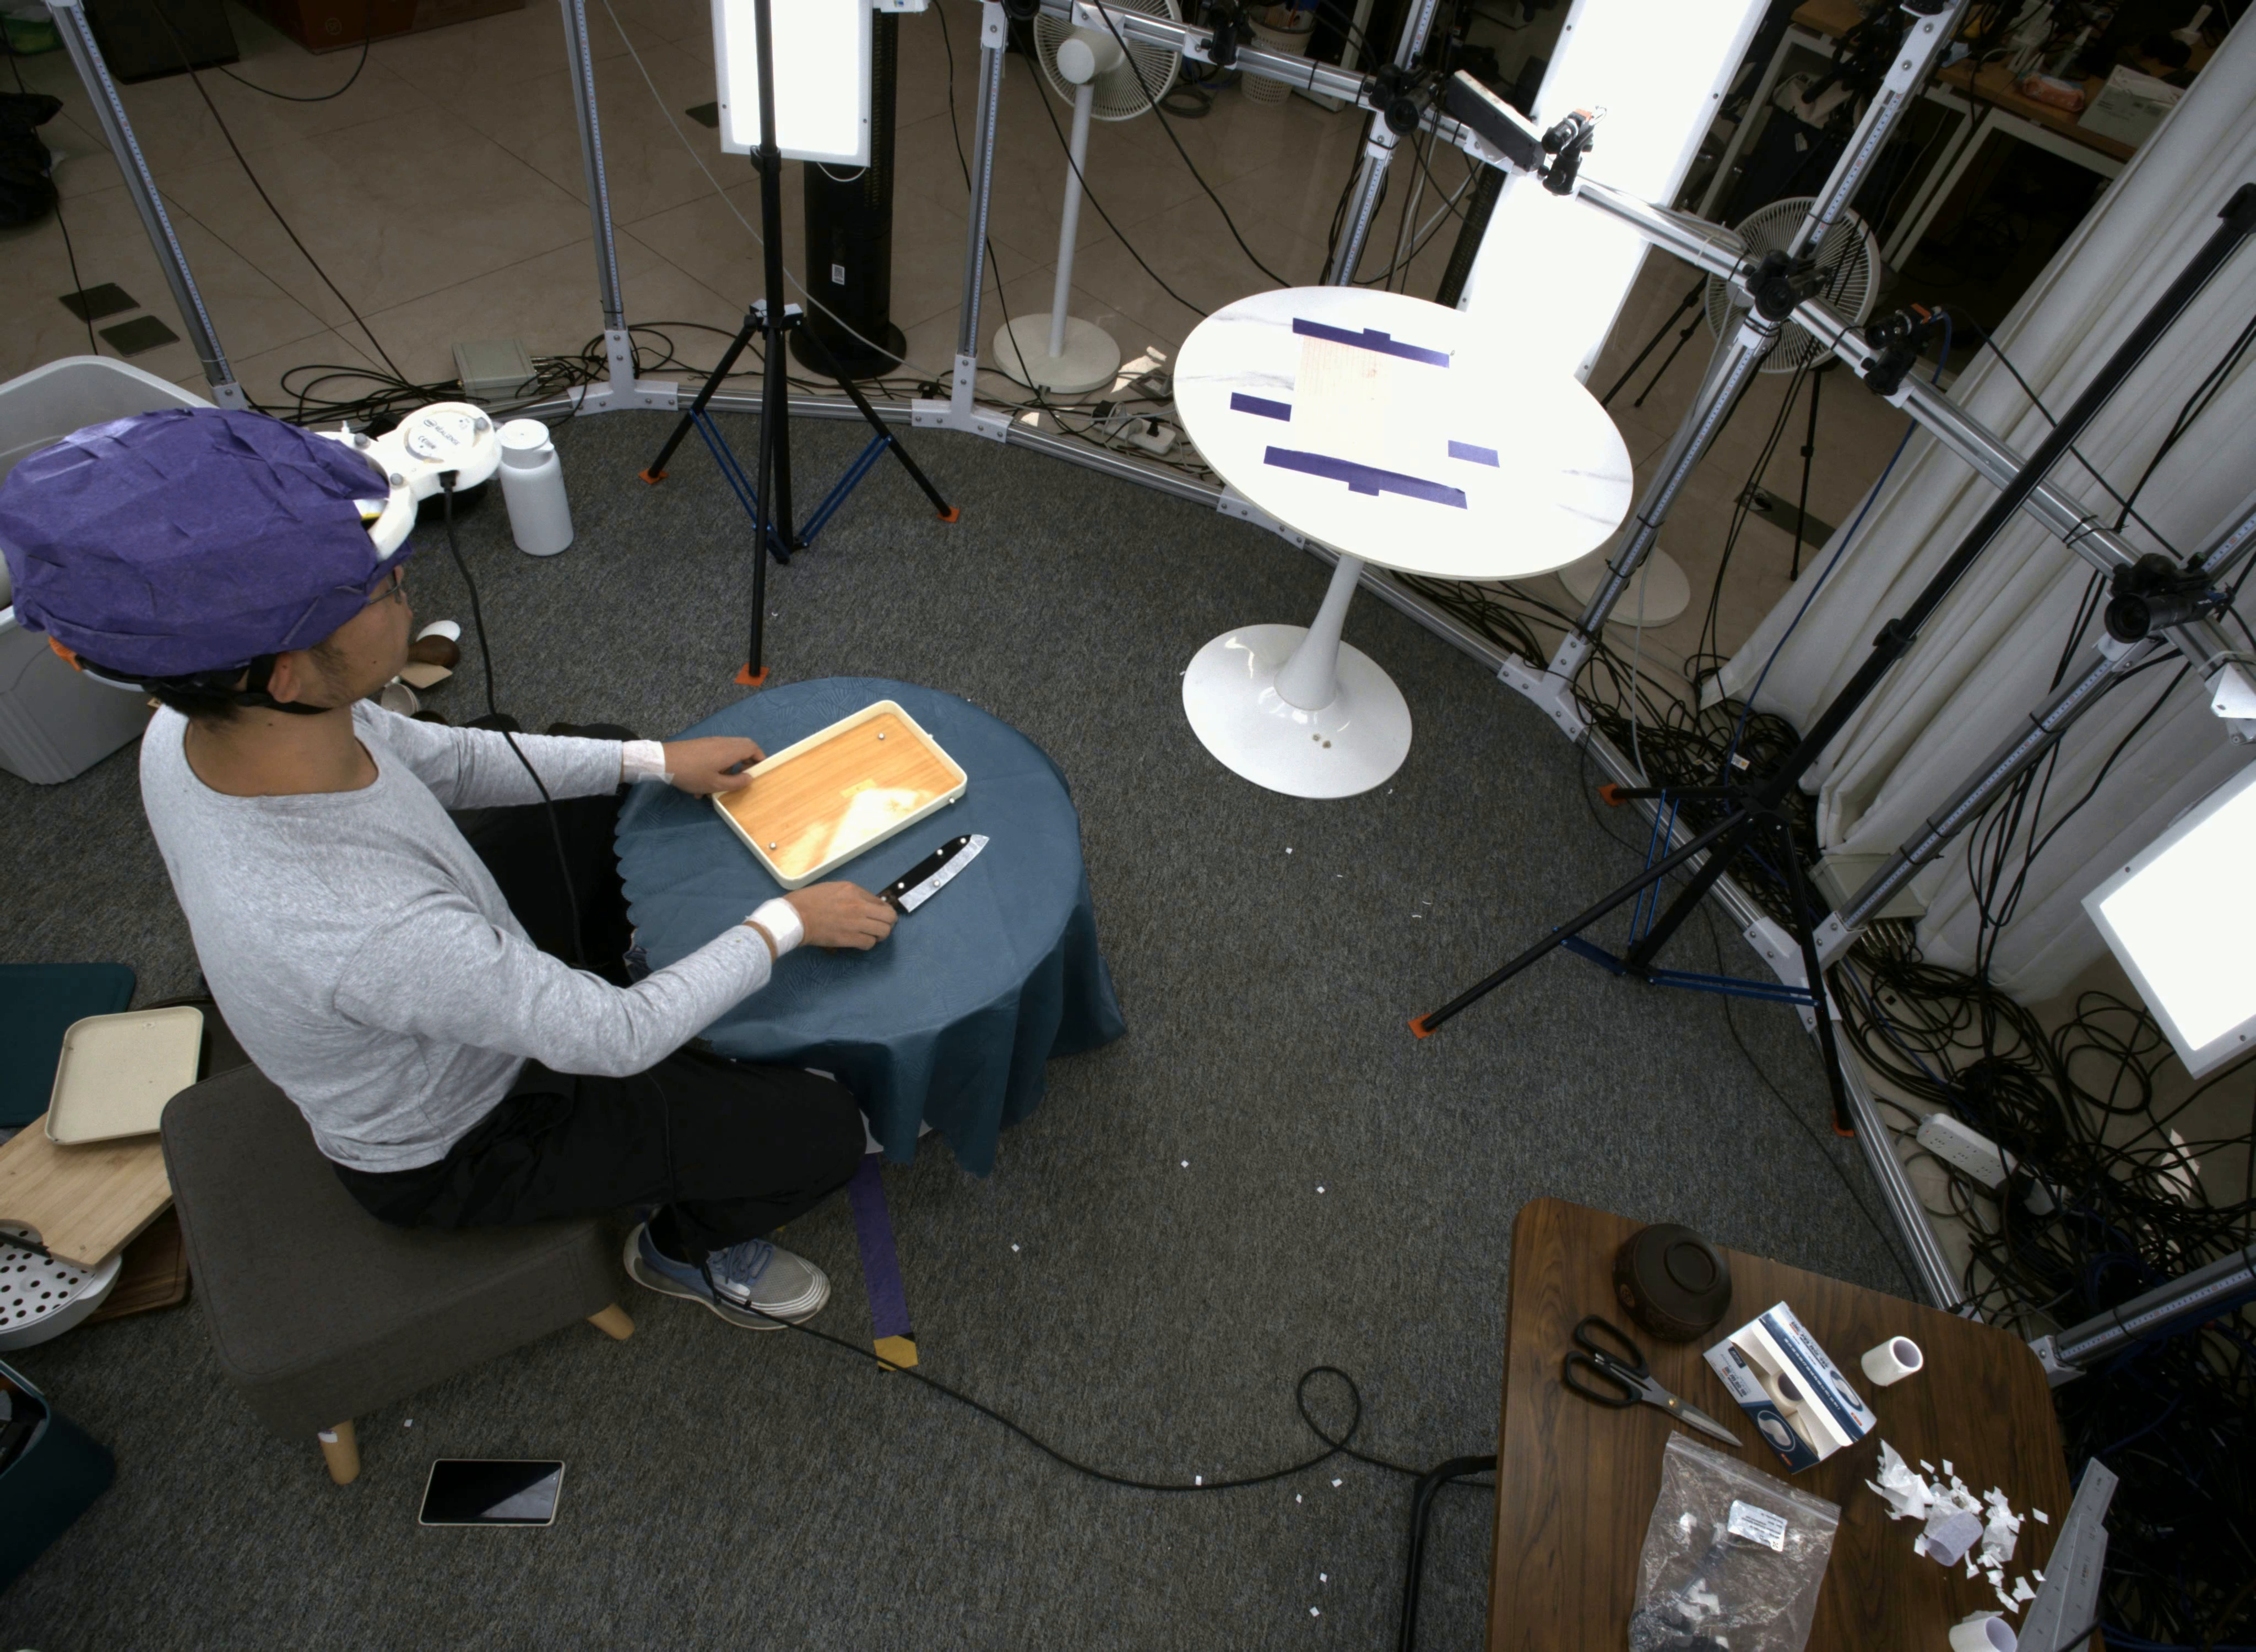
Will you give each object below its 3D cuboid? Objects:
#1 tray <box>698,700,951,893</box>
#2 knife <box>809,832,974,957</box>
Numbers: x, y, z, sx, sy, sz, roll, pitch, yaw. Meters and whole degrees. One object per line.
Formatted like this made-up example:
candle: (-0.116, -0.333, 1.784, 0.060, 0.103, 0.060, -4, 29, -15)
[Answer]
tray: (-0.407, -0.046, 1.757, 0.301, 0.028, 0.187, -34, 68, -32)
knife: (-0.301, 0.082, 1.689, 0.050, 0.020, 0.289, 48, 51, 4)
